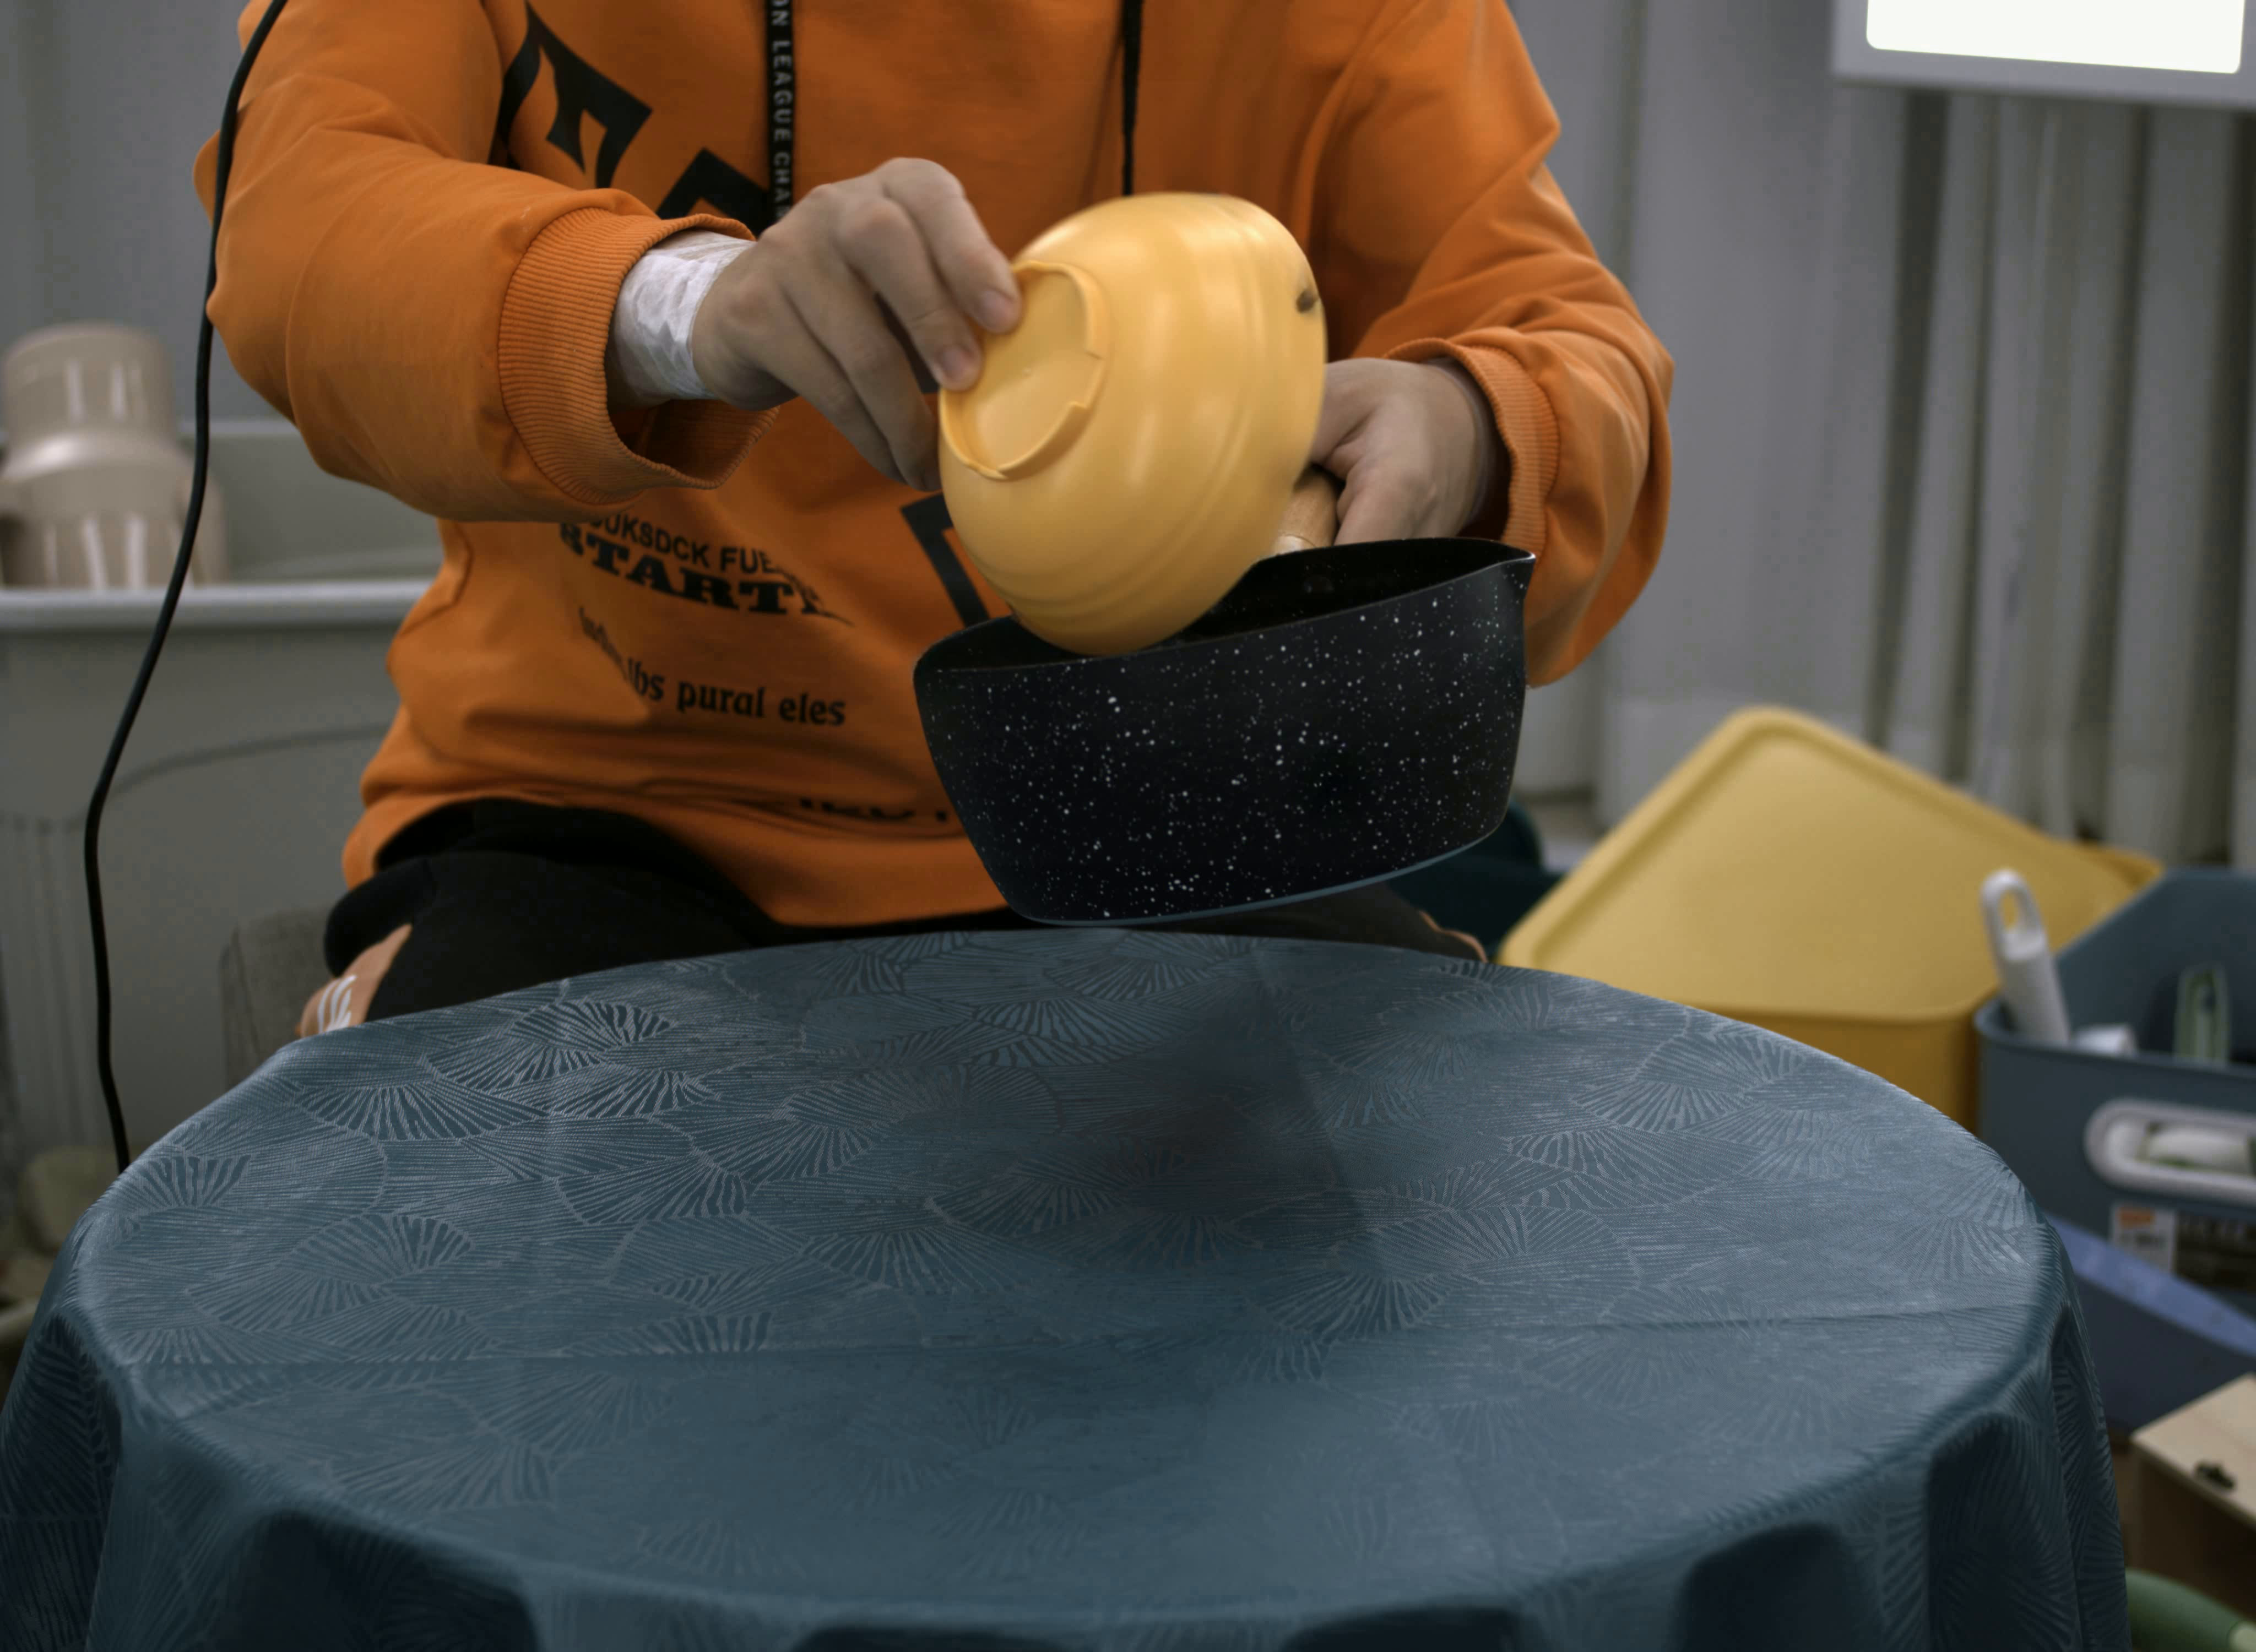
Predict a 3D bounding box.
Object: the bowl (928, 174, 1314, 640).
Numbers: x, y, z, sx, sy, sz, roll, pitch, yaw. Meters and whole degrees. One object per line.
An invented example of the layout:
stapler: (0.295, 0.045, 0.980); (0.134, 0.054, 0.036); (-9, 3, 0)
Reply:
bowl: (-0.016, -0.132, 1.553); (0.061, 0.145, 0.143); (18, 1, -41)

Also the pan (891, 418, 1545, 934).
pan: (0.043, -0.054, 1.666); (0.206, 0.109, 0.342); (-10, 10, 11)
